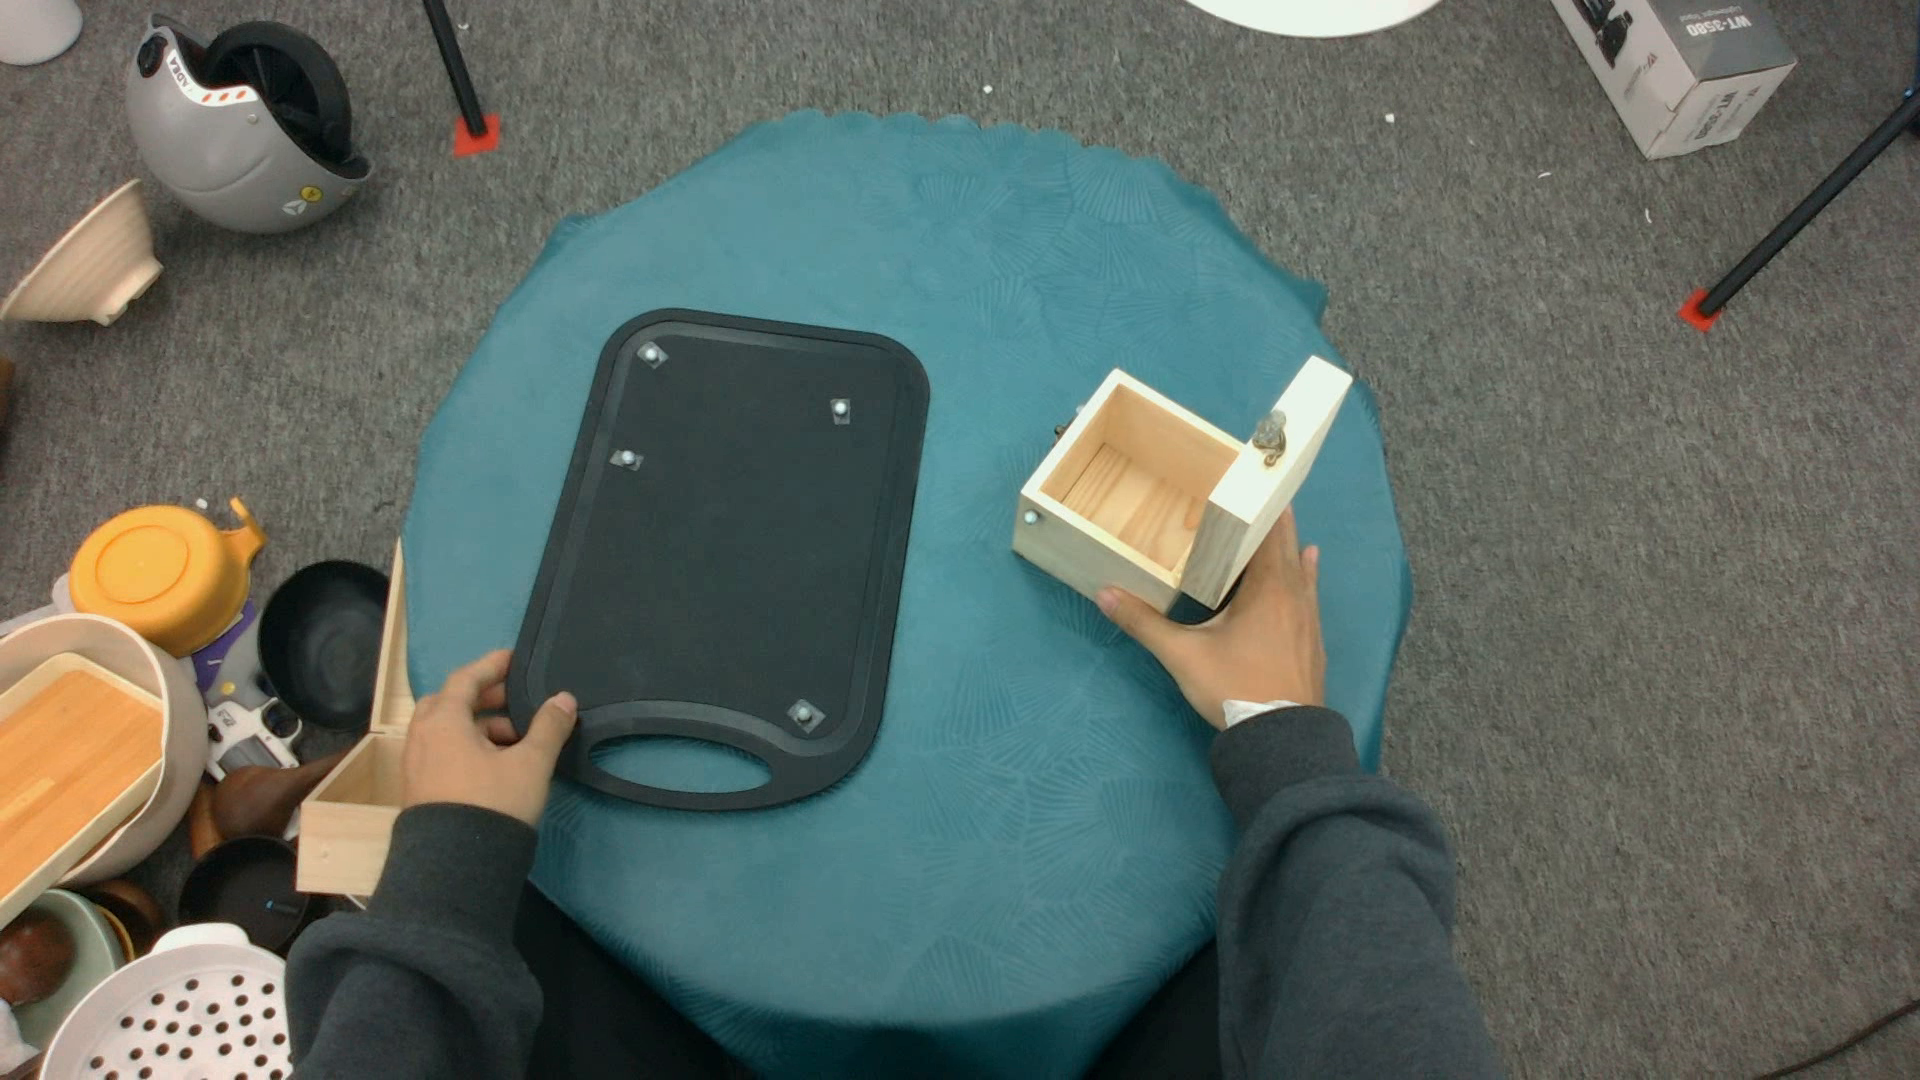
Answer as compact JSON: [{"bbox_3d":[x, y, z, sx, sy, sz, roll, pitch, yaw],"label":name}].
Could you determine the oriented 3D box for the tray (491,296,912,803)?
[{"bbox_3d":[-0.146,-0.005,0.813,0.211,0.010,0.326,7,63,0],"label":"tray"}]

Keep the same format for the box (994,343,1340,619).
[{"bbox_3d":[0.103,-0.048,0.752,0.134,0.184,0.103,33,68,10],"label":"box"}]
